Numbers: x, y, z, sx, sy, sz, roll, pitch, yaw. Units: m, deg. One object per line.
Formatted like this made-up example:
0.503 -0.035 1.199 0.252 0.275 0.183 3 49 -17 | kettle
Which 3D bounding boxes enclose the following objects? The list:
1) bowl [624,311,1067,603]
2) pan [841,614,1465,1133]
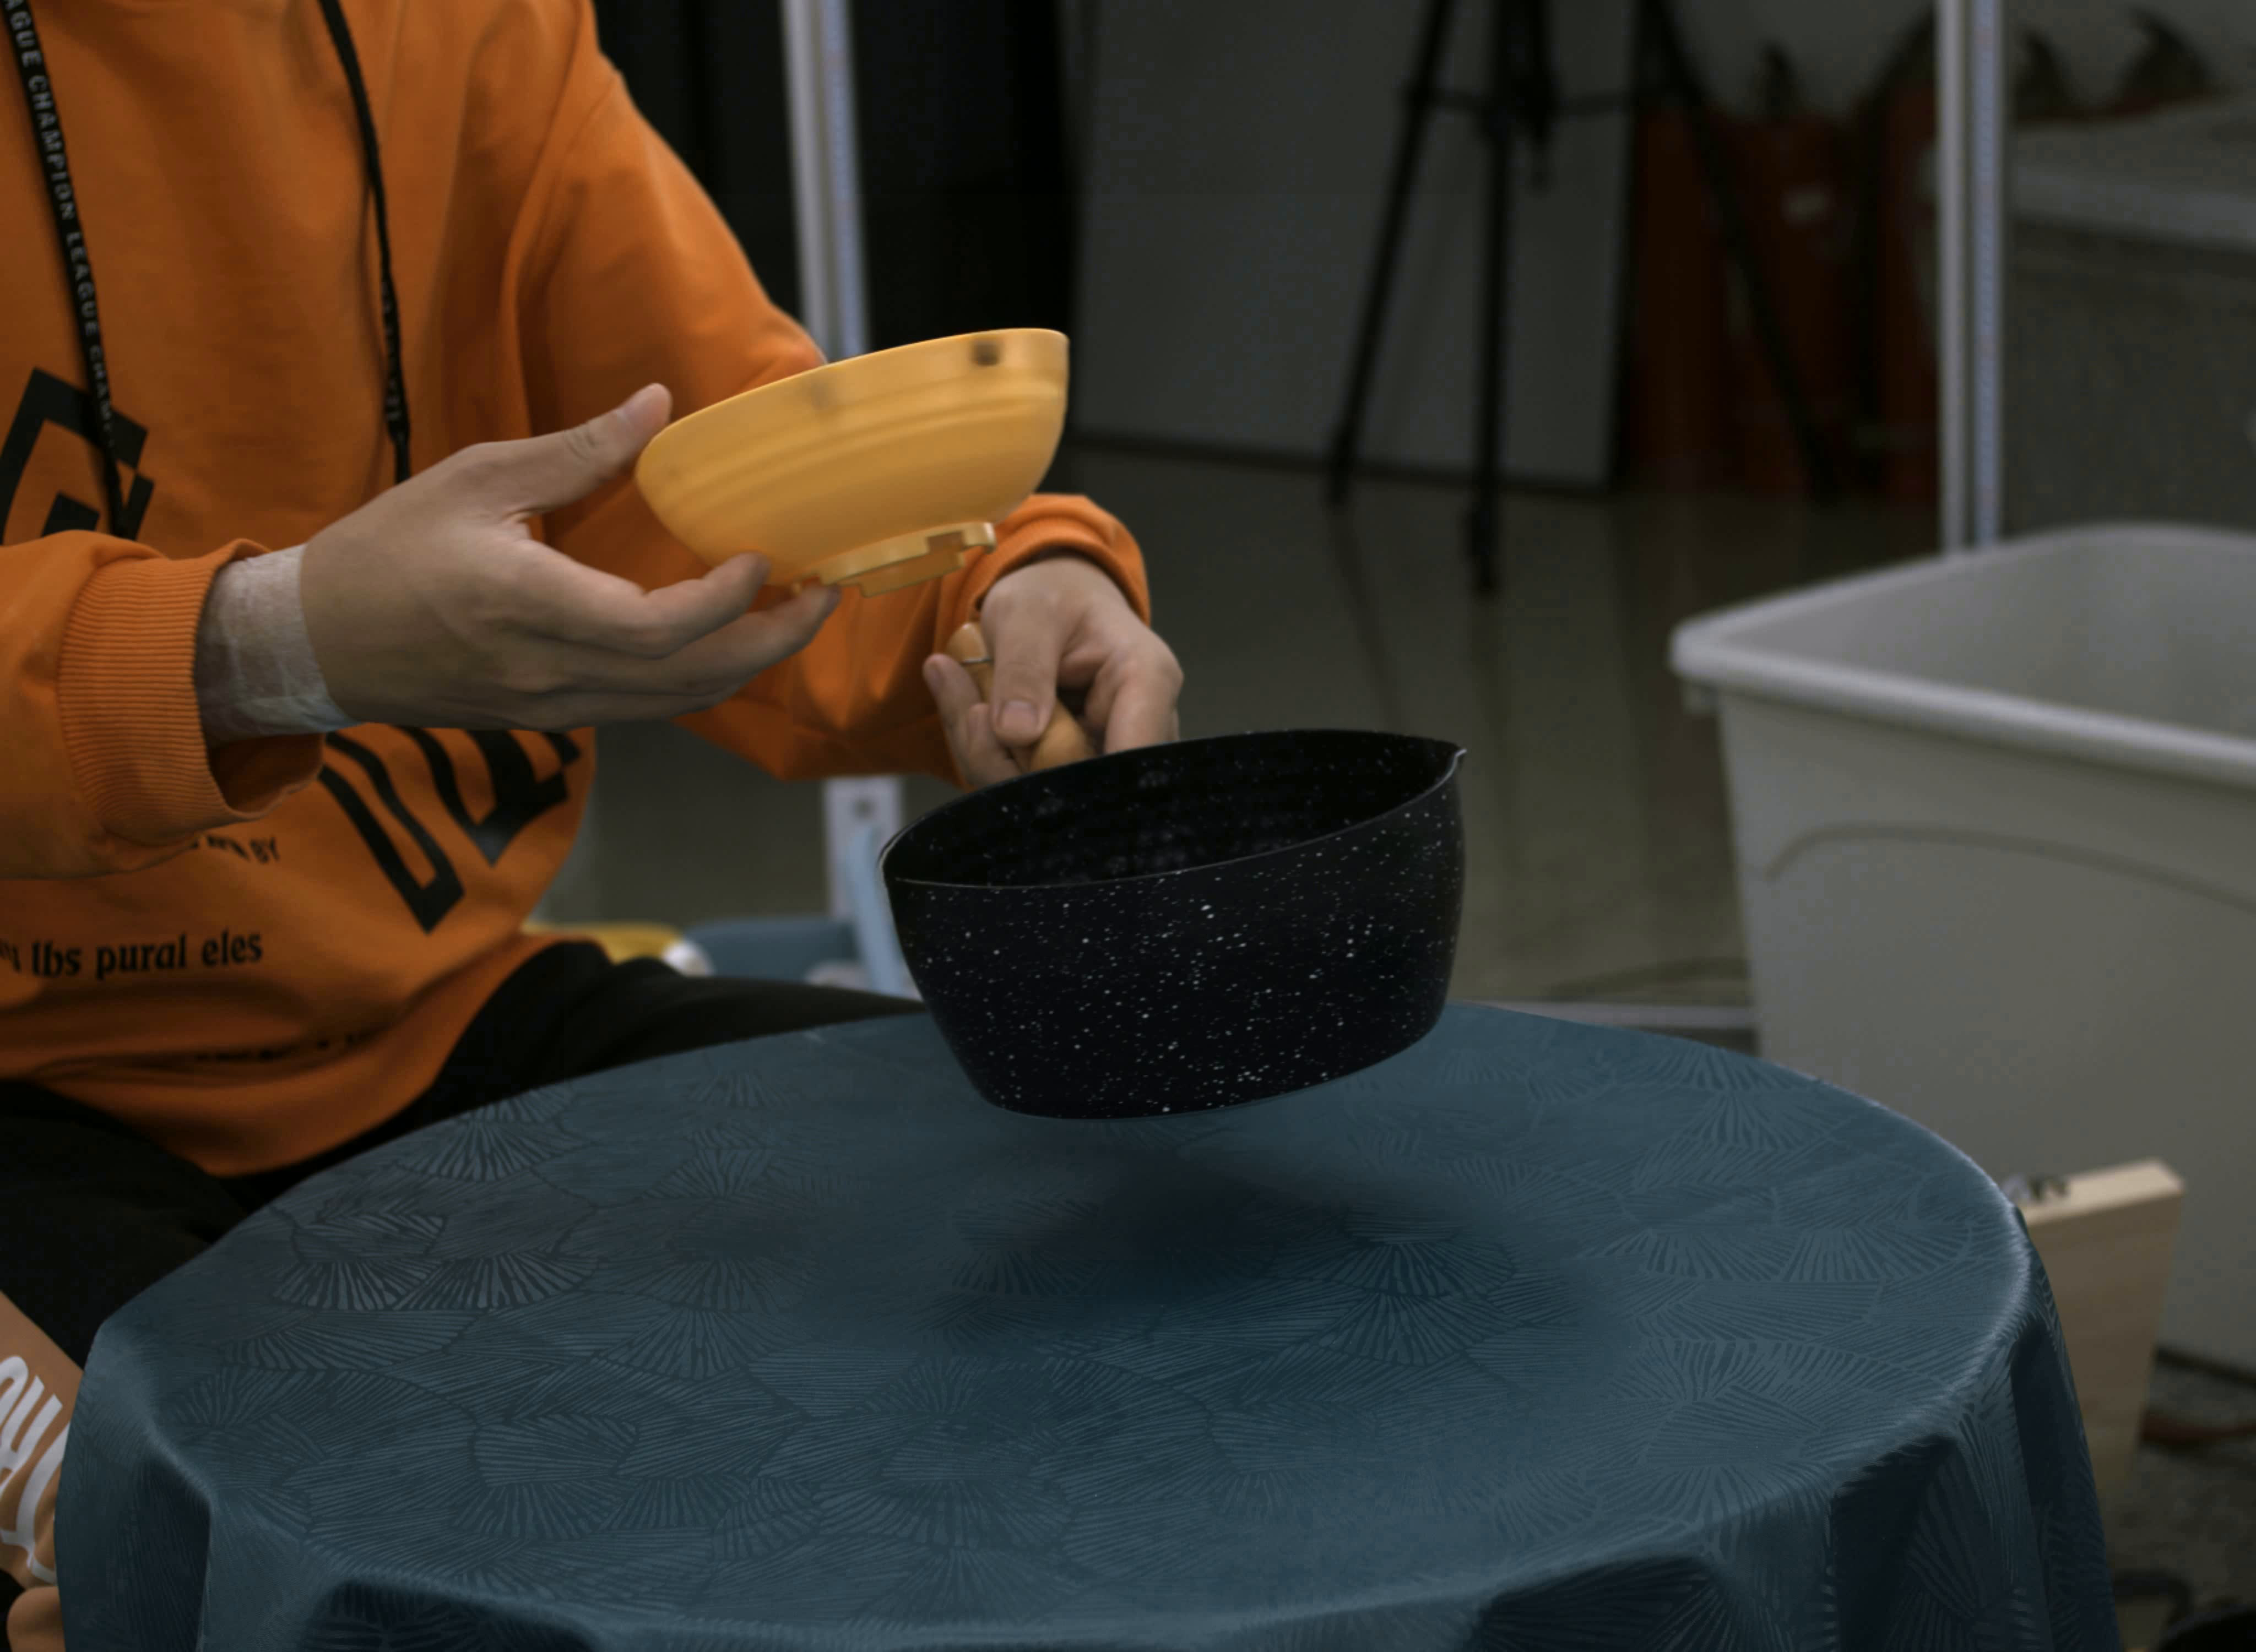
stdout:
-0.080 -0.108 1.682 0.143 0.061 0.145 -16 -8 -3 | bowl
-0.006 0.008 1.785 0.204 0.109 0.345 -15 14 -13 | pan
